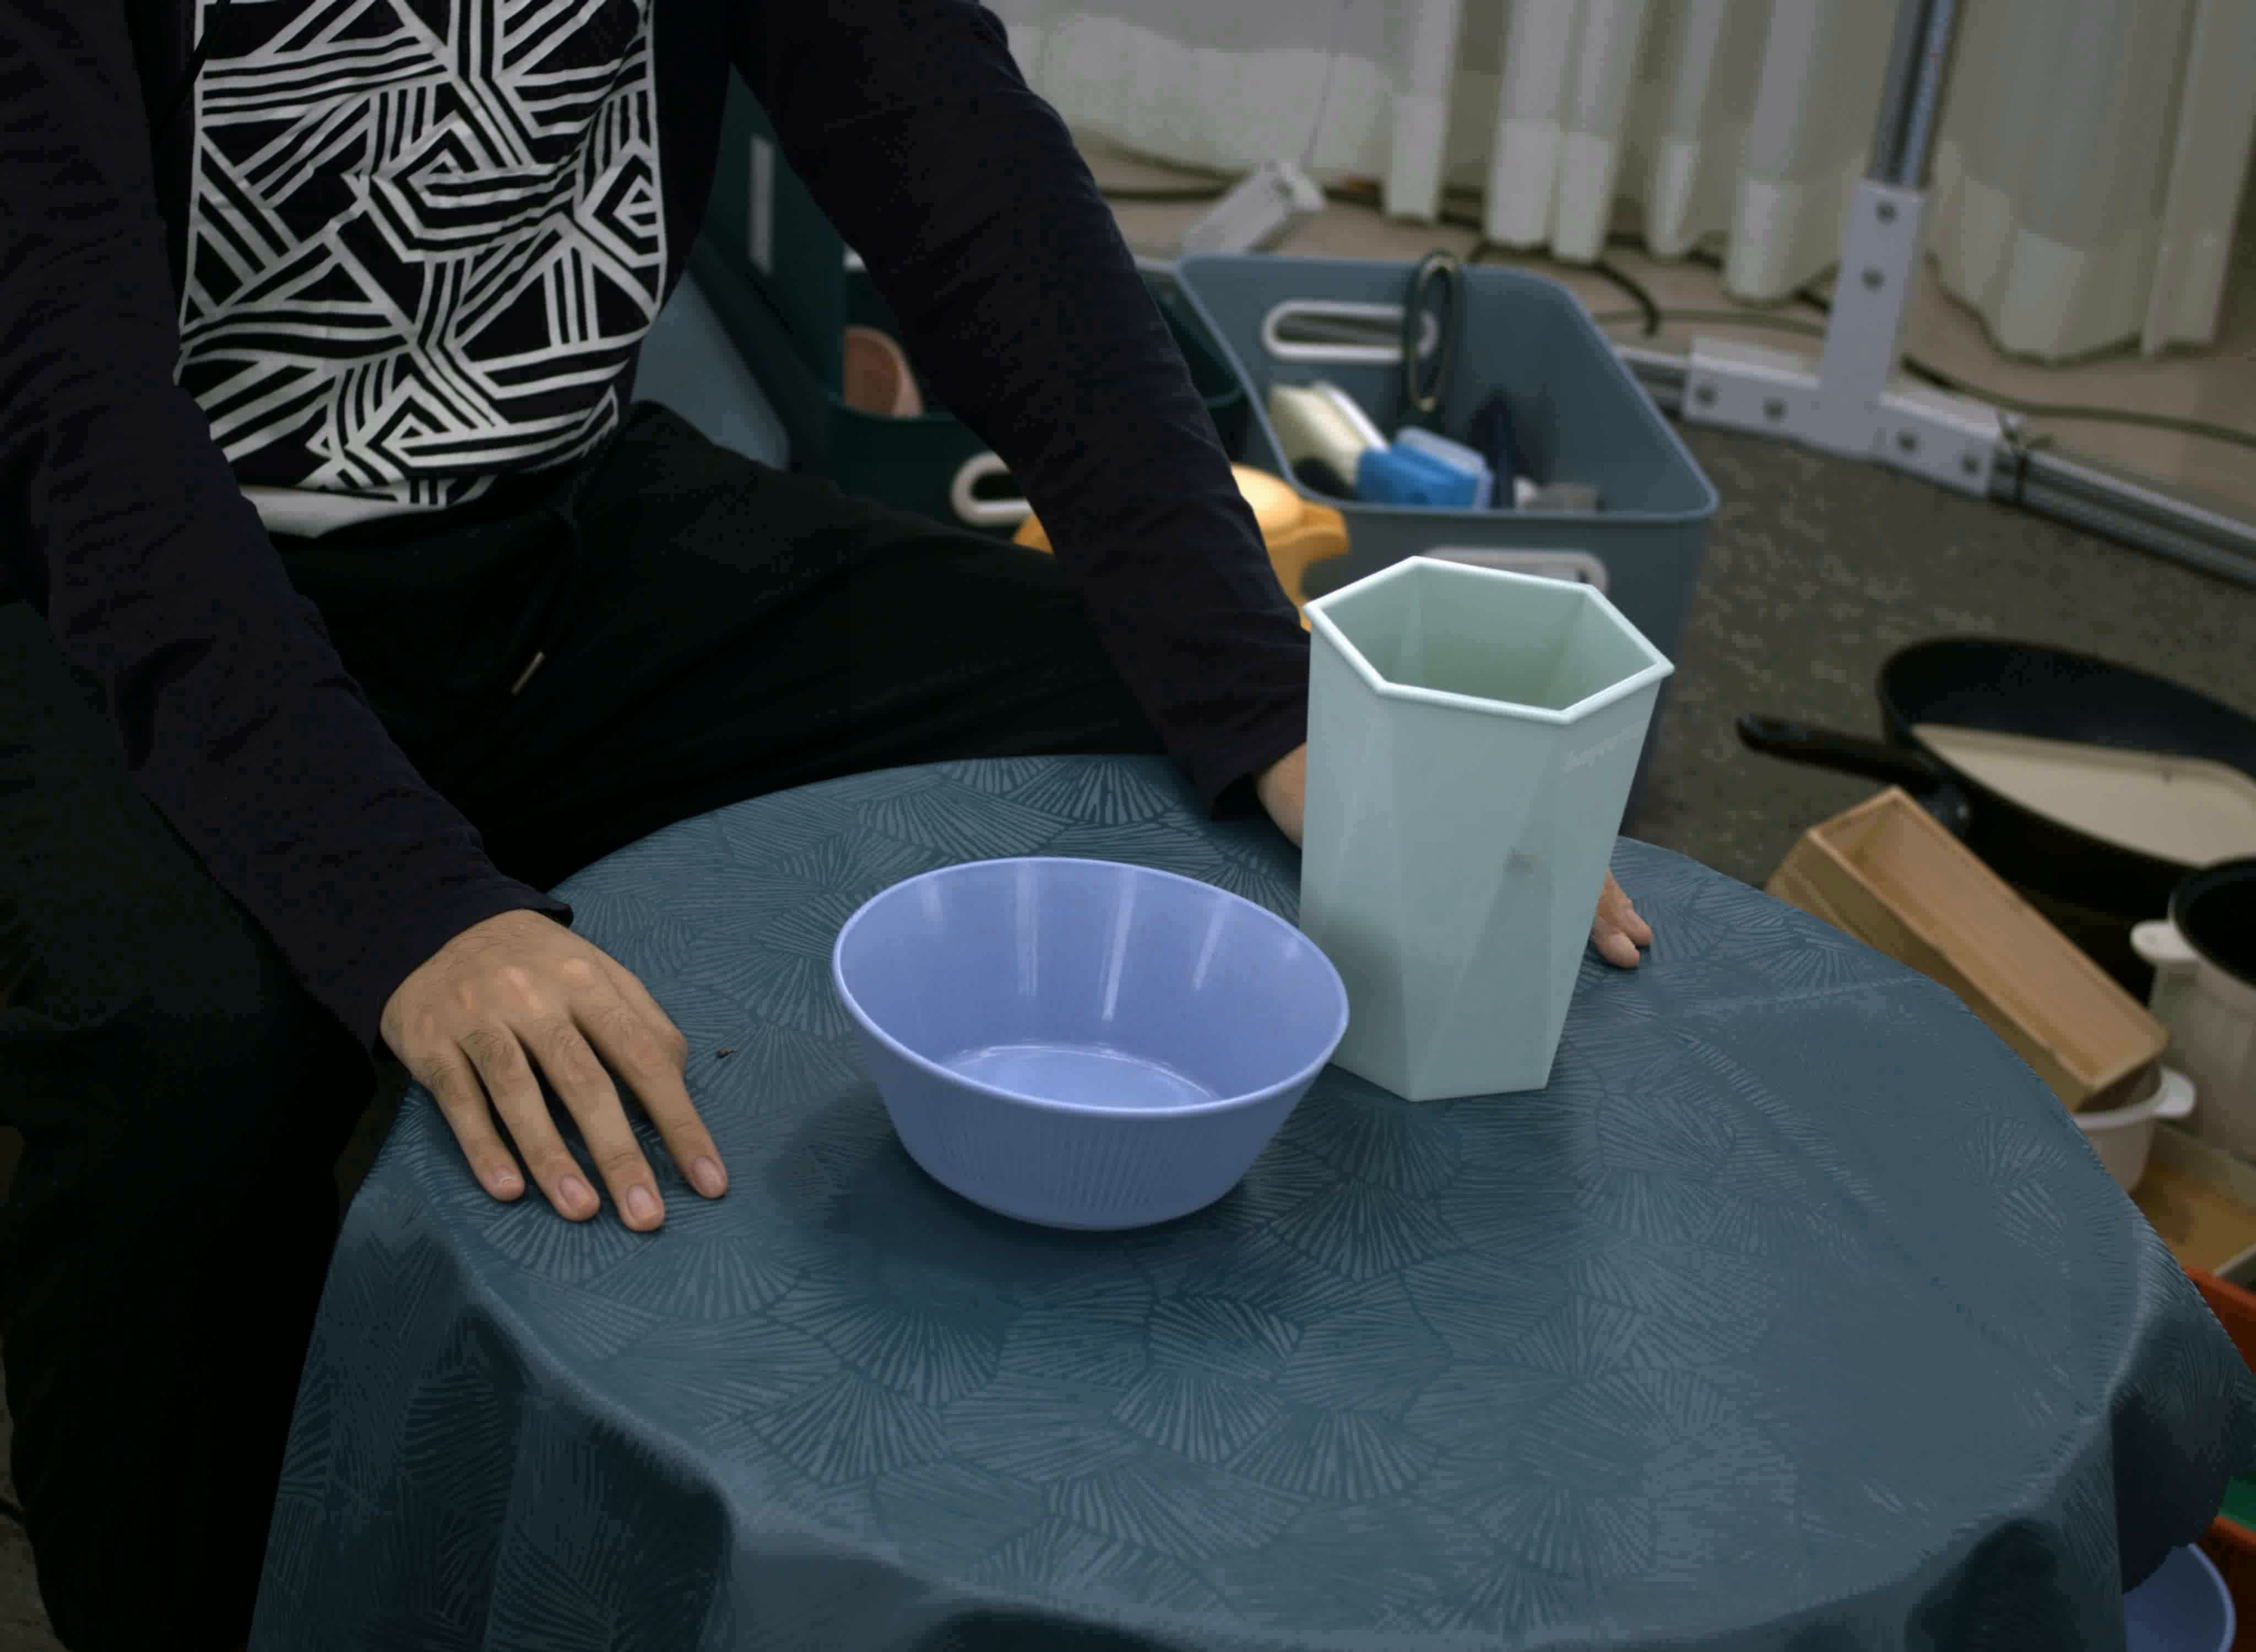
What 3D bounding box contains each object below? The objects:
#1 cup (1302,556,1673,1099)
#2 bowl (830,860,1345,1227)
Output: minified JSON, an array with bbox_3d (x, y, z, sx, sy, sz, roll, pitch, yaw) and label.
[{"bbox_3d":[0.119,0.003,1.890,0.116,0.162,0.130,22,29,31],"label":"cup"},{"bbox_3d":[-0.017,0.079,1.812,0.175,0.070,0.177,5,27,-3],"label":"bowl"}]
